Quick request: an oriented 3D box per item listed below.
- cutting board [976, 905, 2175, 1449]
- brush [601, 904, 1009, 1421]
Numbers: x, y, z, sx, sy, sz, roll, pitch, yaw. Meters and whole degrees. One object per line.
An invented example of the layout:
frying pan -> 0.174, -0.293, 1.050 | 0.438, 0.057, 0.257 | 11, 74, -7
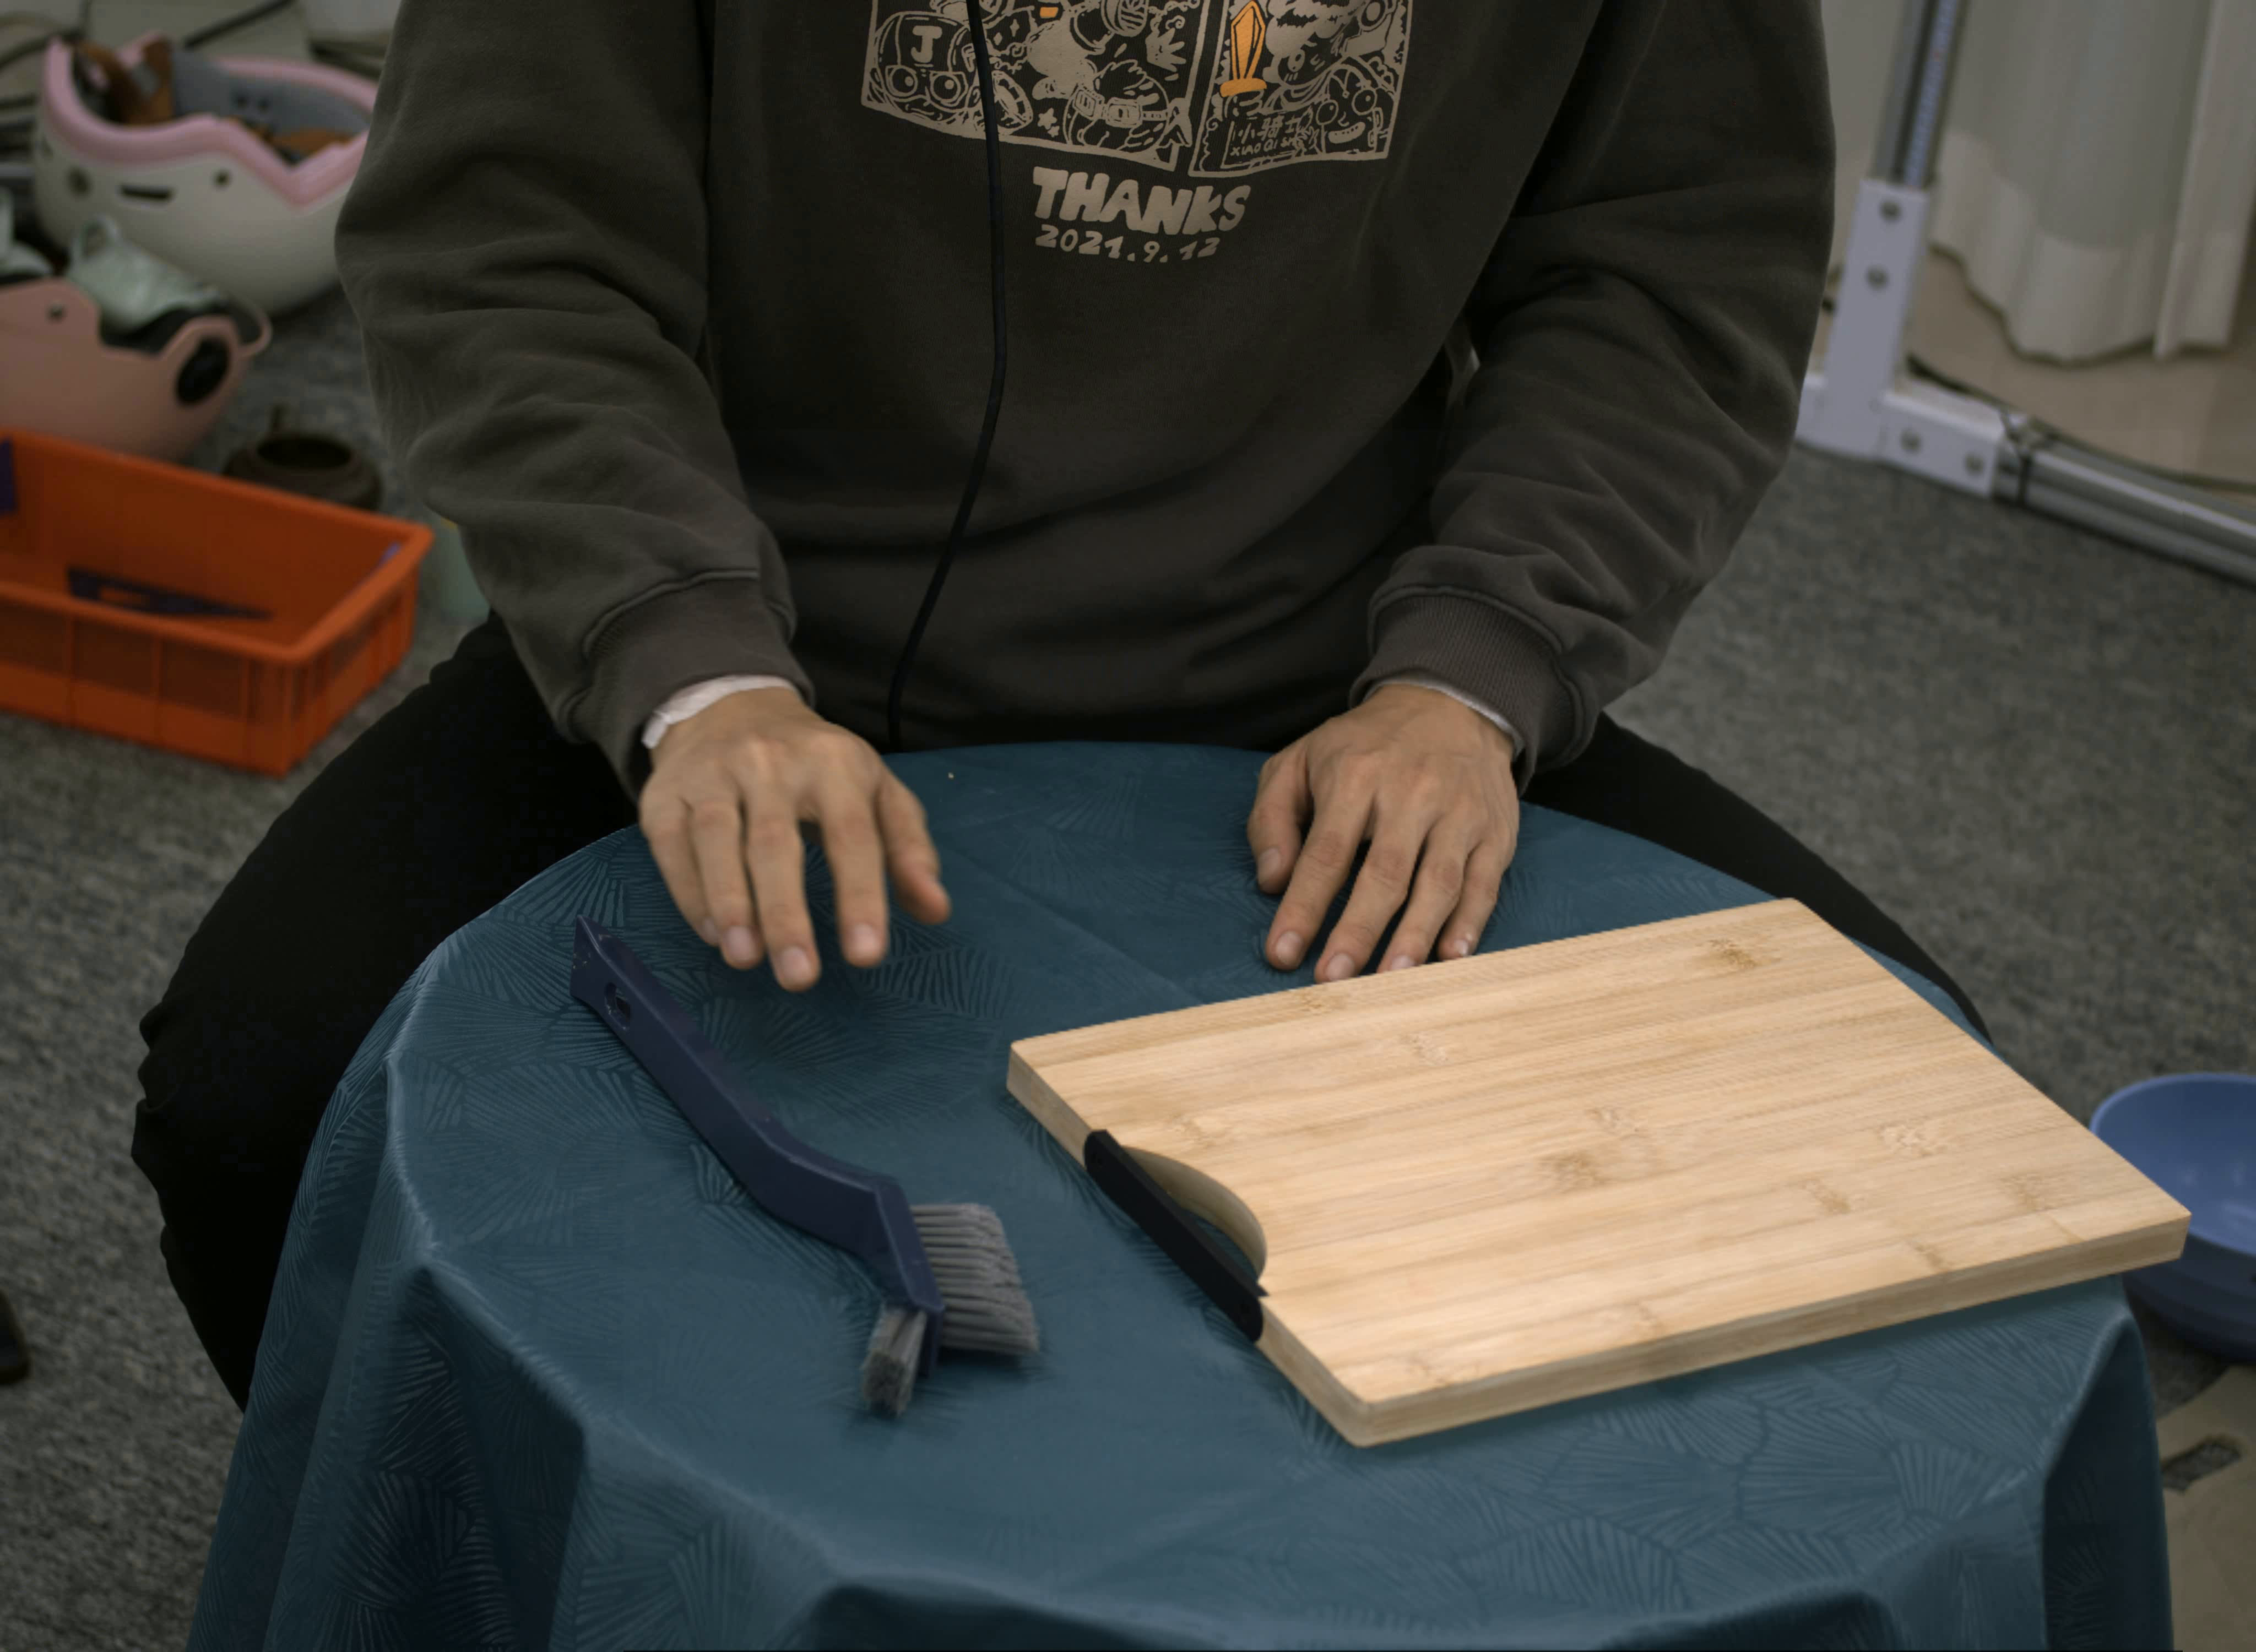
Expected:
cutting board -> 0.156, 0.114, 1.840 | 0.346, 0.023, 0.253 | -9, 30, -29
brush -> -0.128, 0.107, 1.773 | 0.095, 0.033, 0.275 | -14, 34, -34
